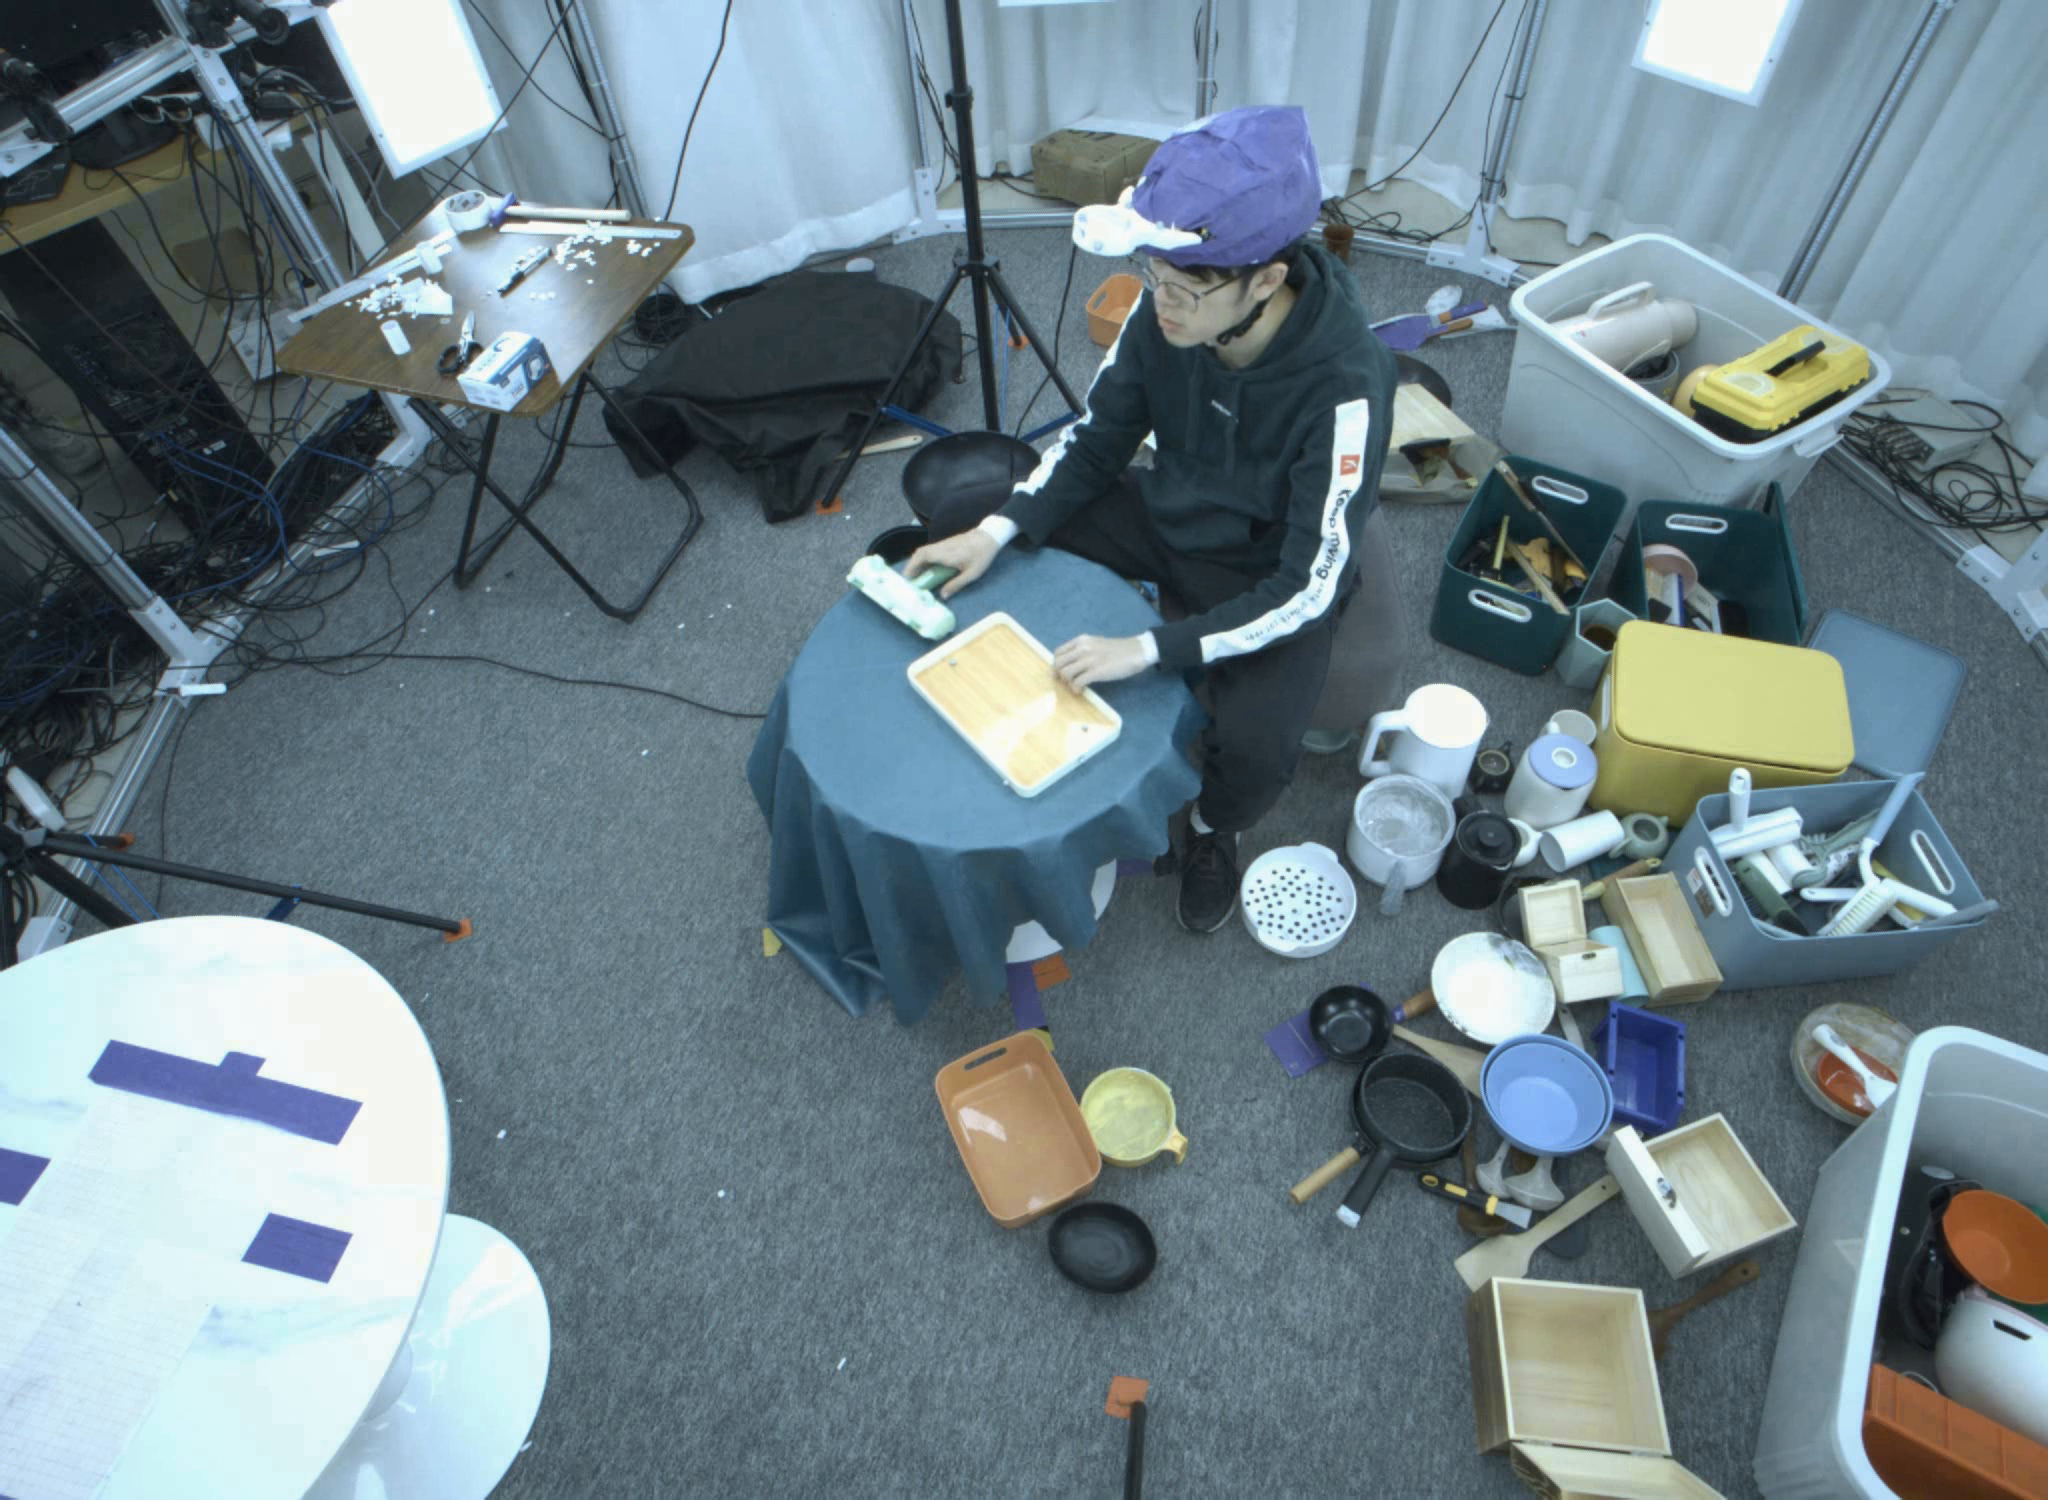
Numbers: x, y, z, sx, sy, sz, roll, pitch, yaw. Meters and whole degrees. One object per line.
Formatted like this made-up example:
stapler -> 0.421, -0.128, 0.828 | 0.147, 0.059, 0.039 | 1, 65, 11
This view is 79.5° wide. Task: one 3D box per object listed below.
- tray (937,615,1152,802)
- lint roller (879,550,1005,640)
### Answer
tray -> 0.027, -0.067, 1.813 | 0.193, 0.028, 0.294 | -32, 60, -20
lint roller -> -0.104, -0.279, 1.937 | 0.184, 0.083, 0.195 | -41, 62, -19
